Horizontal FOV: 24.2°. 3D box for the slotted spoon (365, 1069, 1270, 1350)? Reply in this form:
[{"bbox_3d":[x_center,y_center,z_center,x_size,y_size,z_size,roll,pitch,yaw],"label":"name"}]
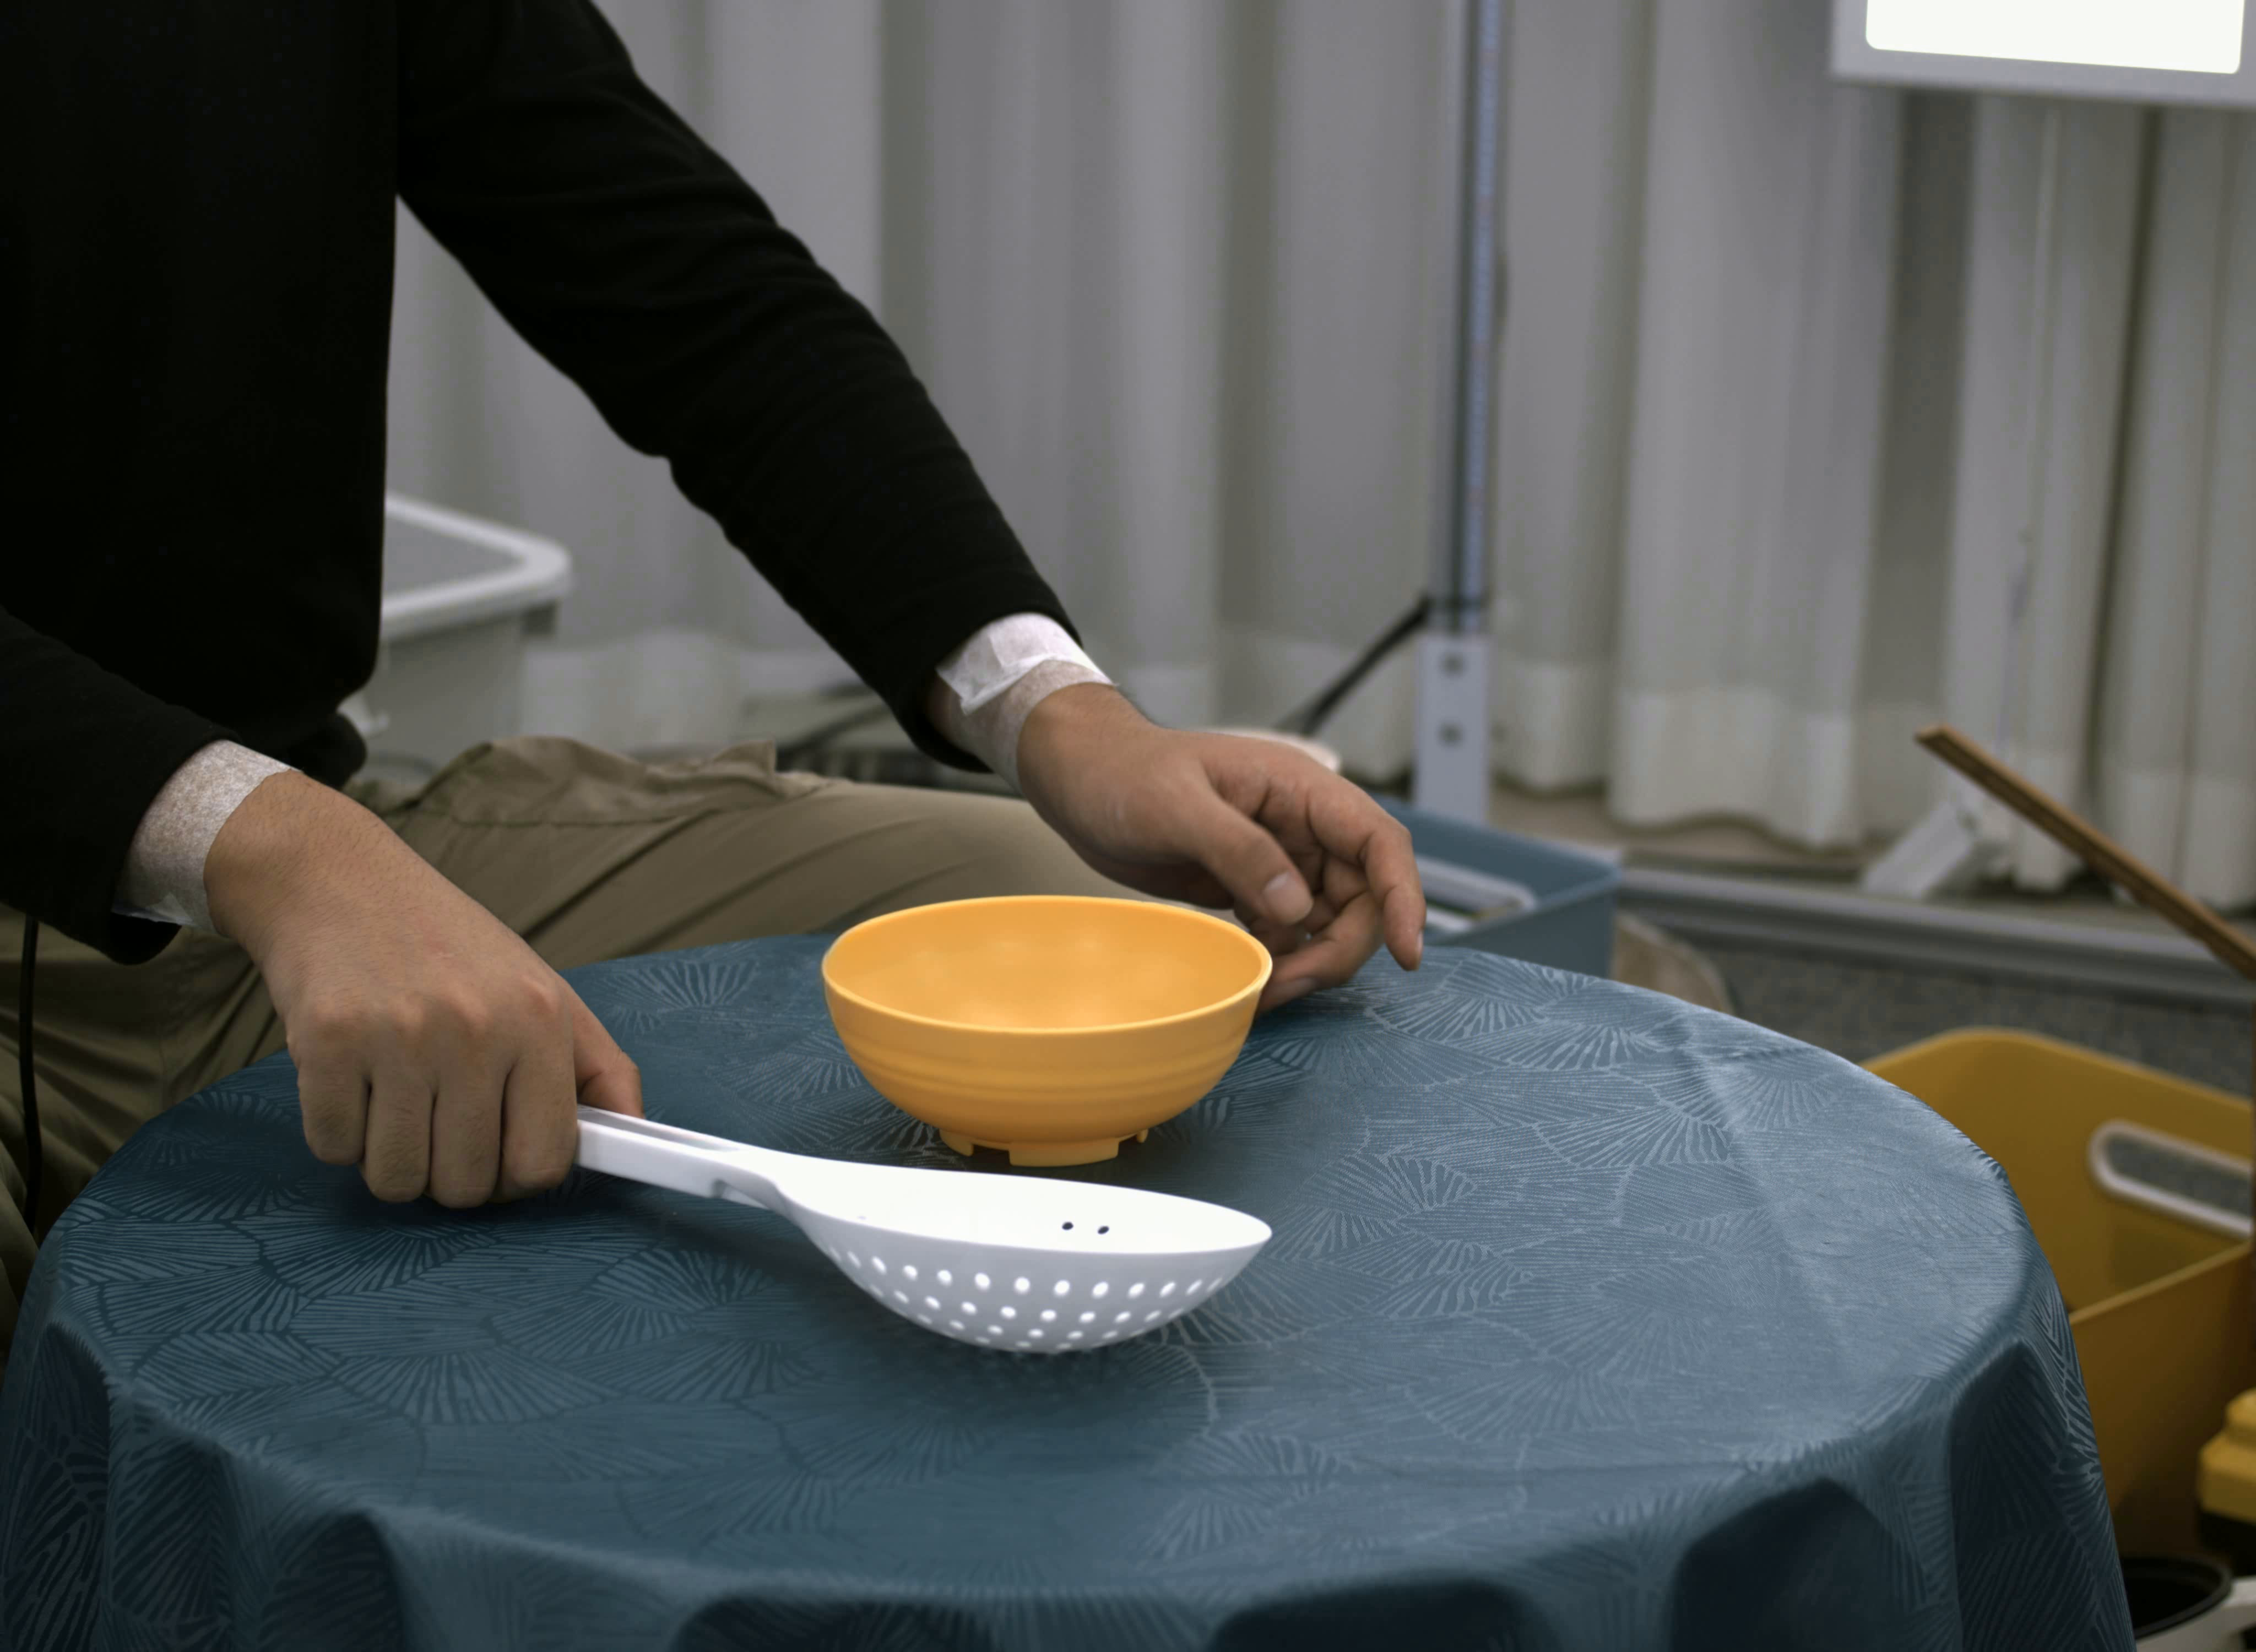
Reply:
[{"bbox_3d":[-0.107,0.103,1.552,0.345,0.046,0.137,15,9,41],"label":"slotted spoon"}]

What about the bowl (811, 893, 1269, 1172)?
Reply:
[{"bbox_3d":[-0.029,0.071,1.666,0.145,0.060,0.144,3,17,0],"label":"bowl"}]
